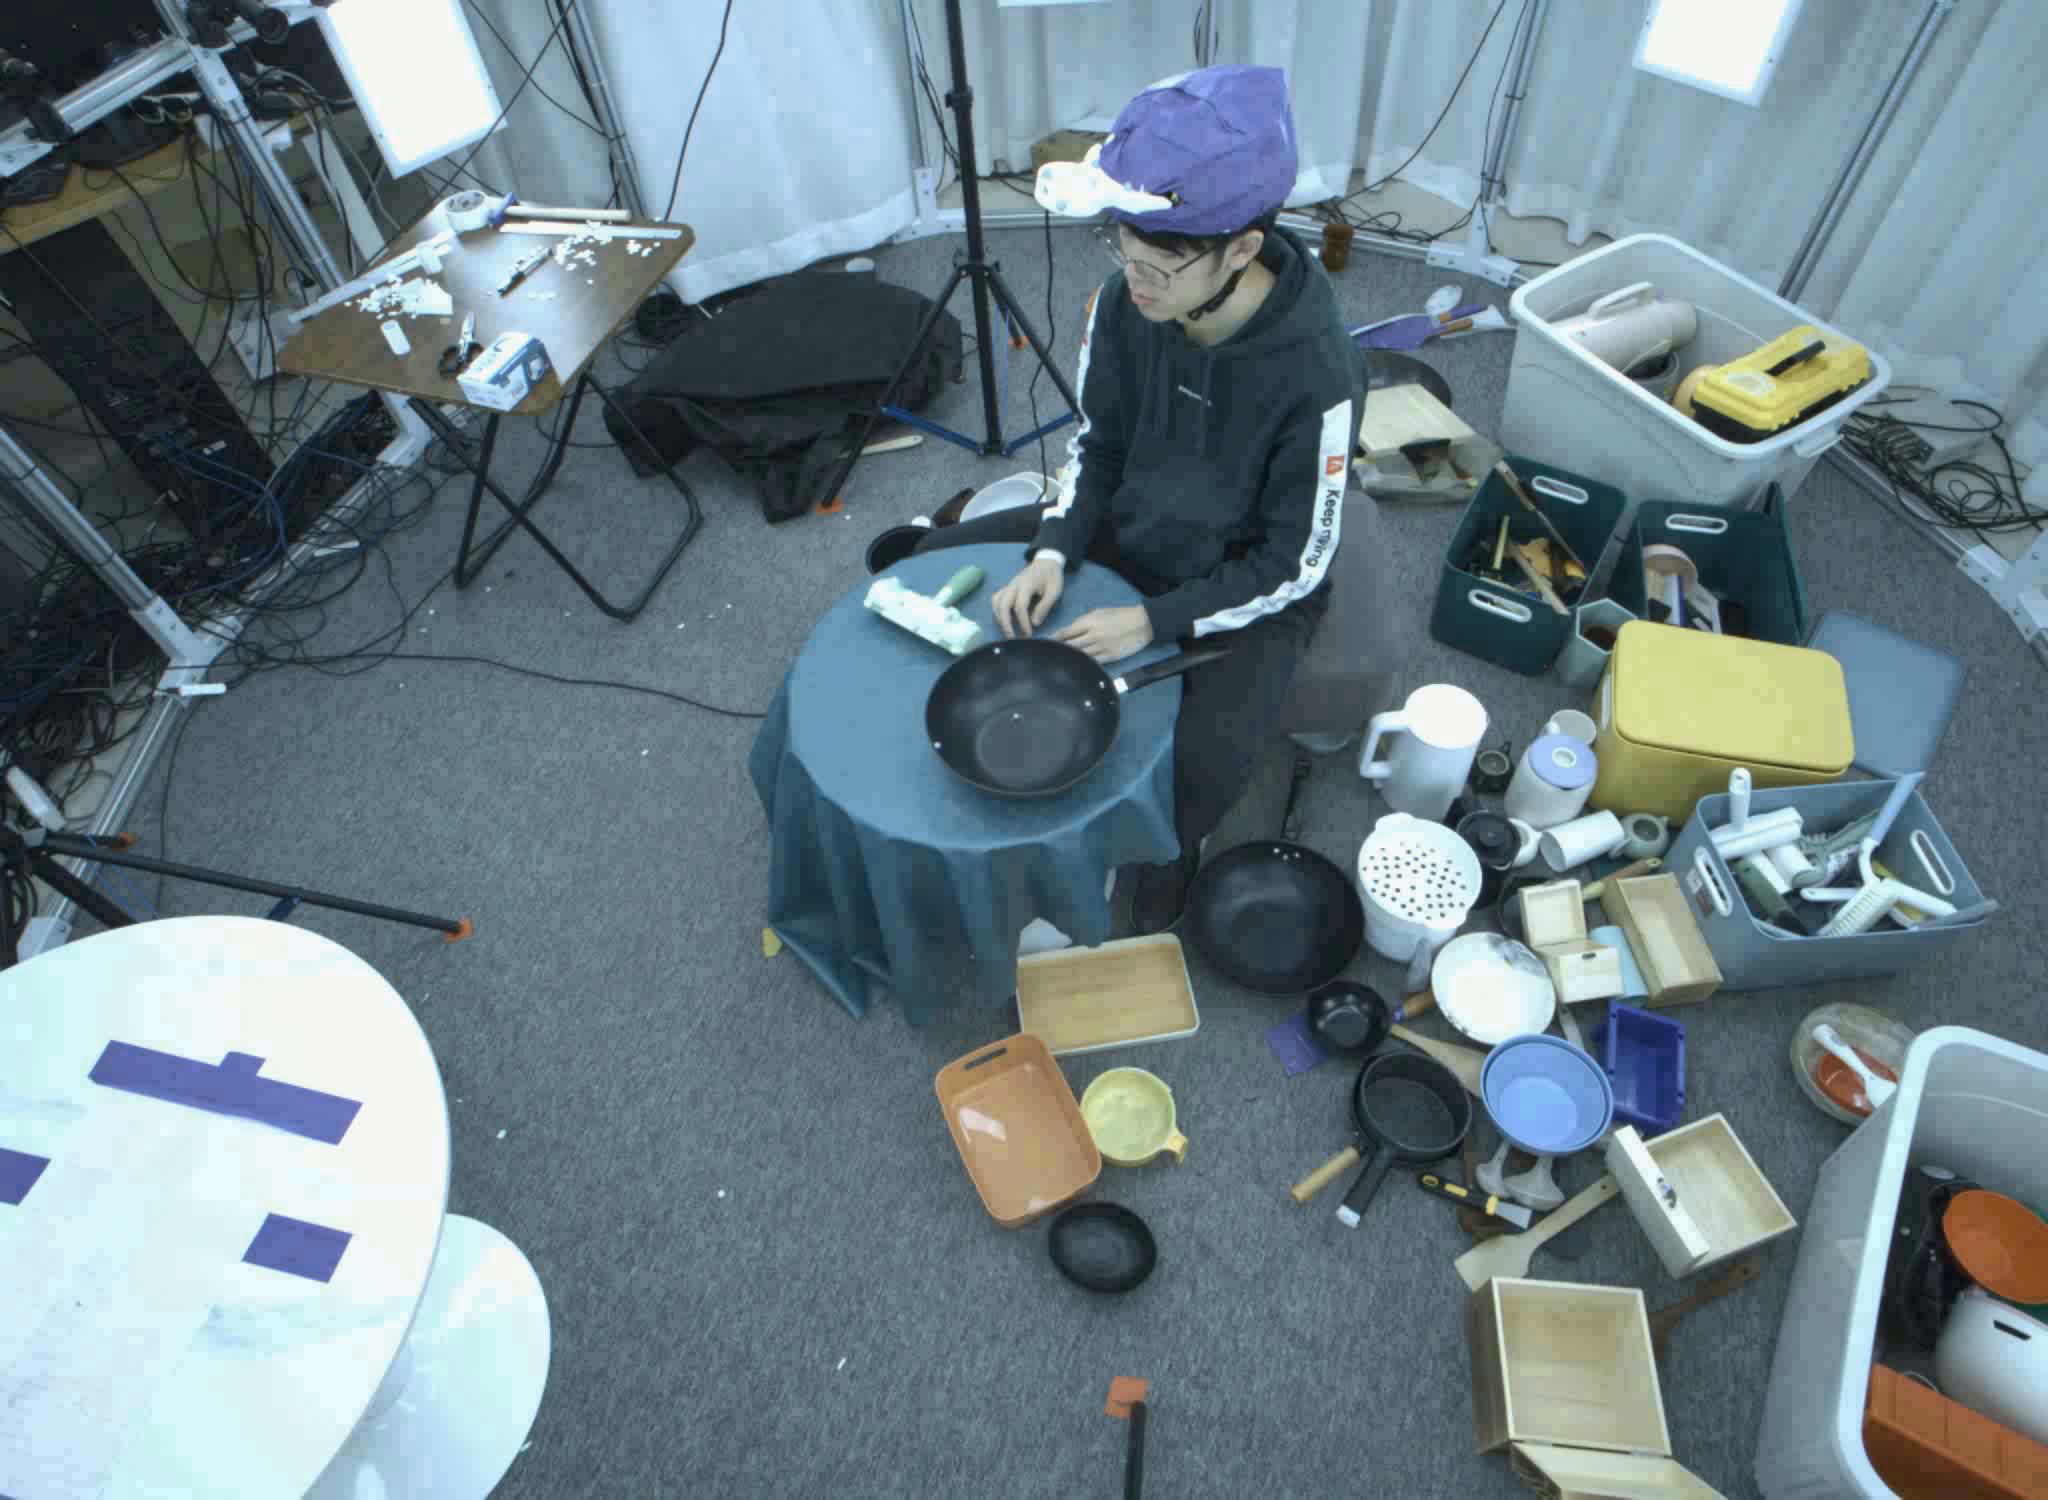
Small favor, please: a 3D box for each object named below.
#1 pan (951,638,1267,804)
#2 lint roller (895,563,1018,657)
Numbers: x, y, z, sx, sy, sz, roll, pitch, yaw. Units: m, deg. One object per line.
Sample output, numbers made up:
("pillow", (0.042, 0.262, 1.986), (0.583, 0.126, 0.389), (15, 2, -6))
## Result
("pan", (0.125, -0.053, 1.765), (0.466, 0.088, 0.283), (-16, 56, -11))
("lint roller", (-0.075, -0.249, 1.916), (0.195, 0.083, 0.184), (31, 67, 22))
